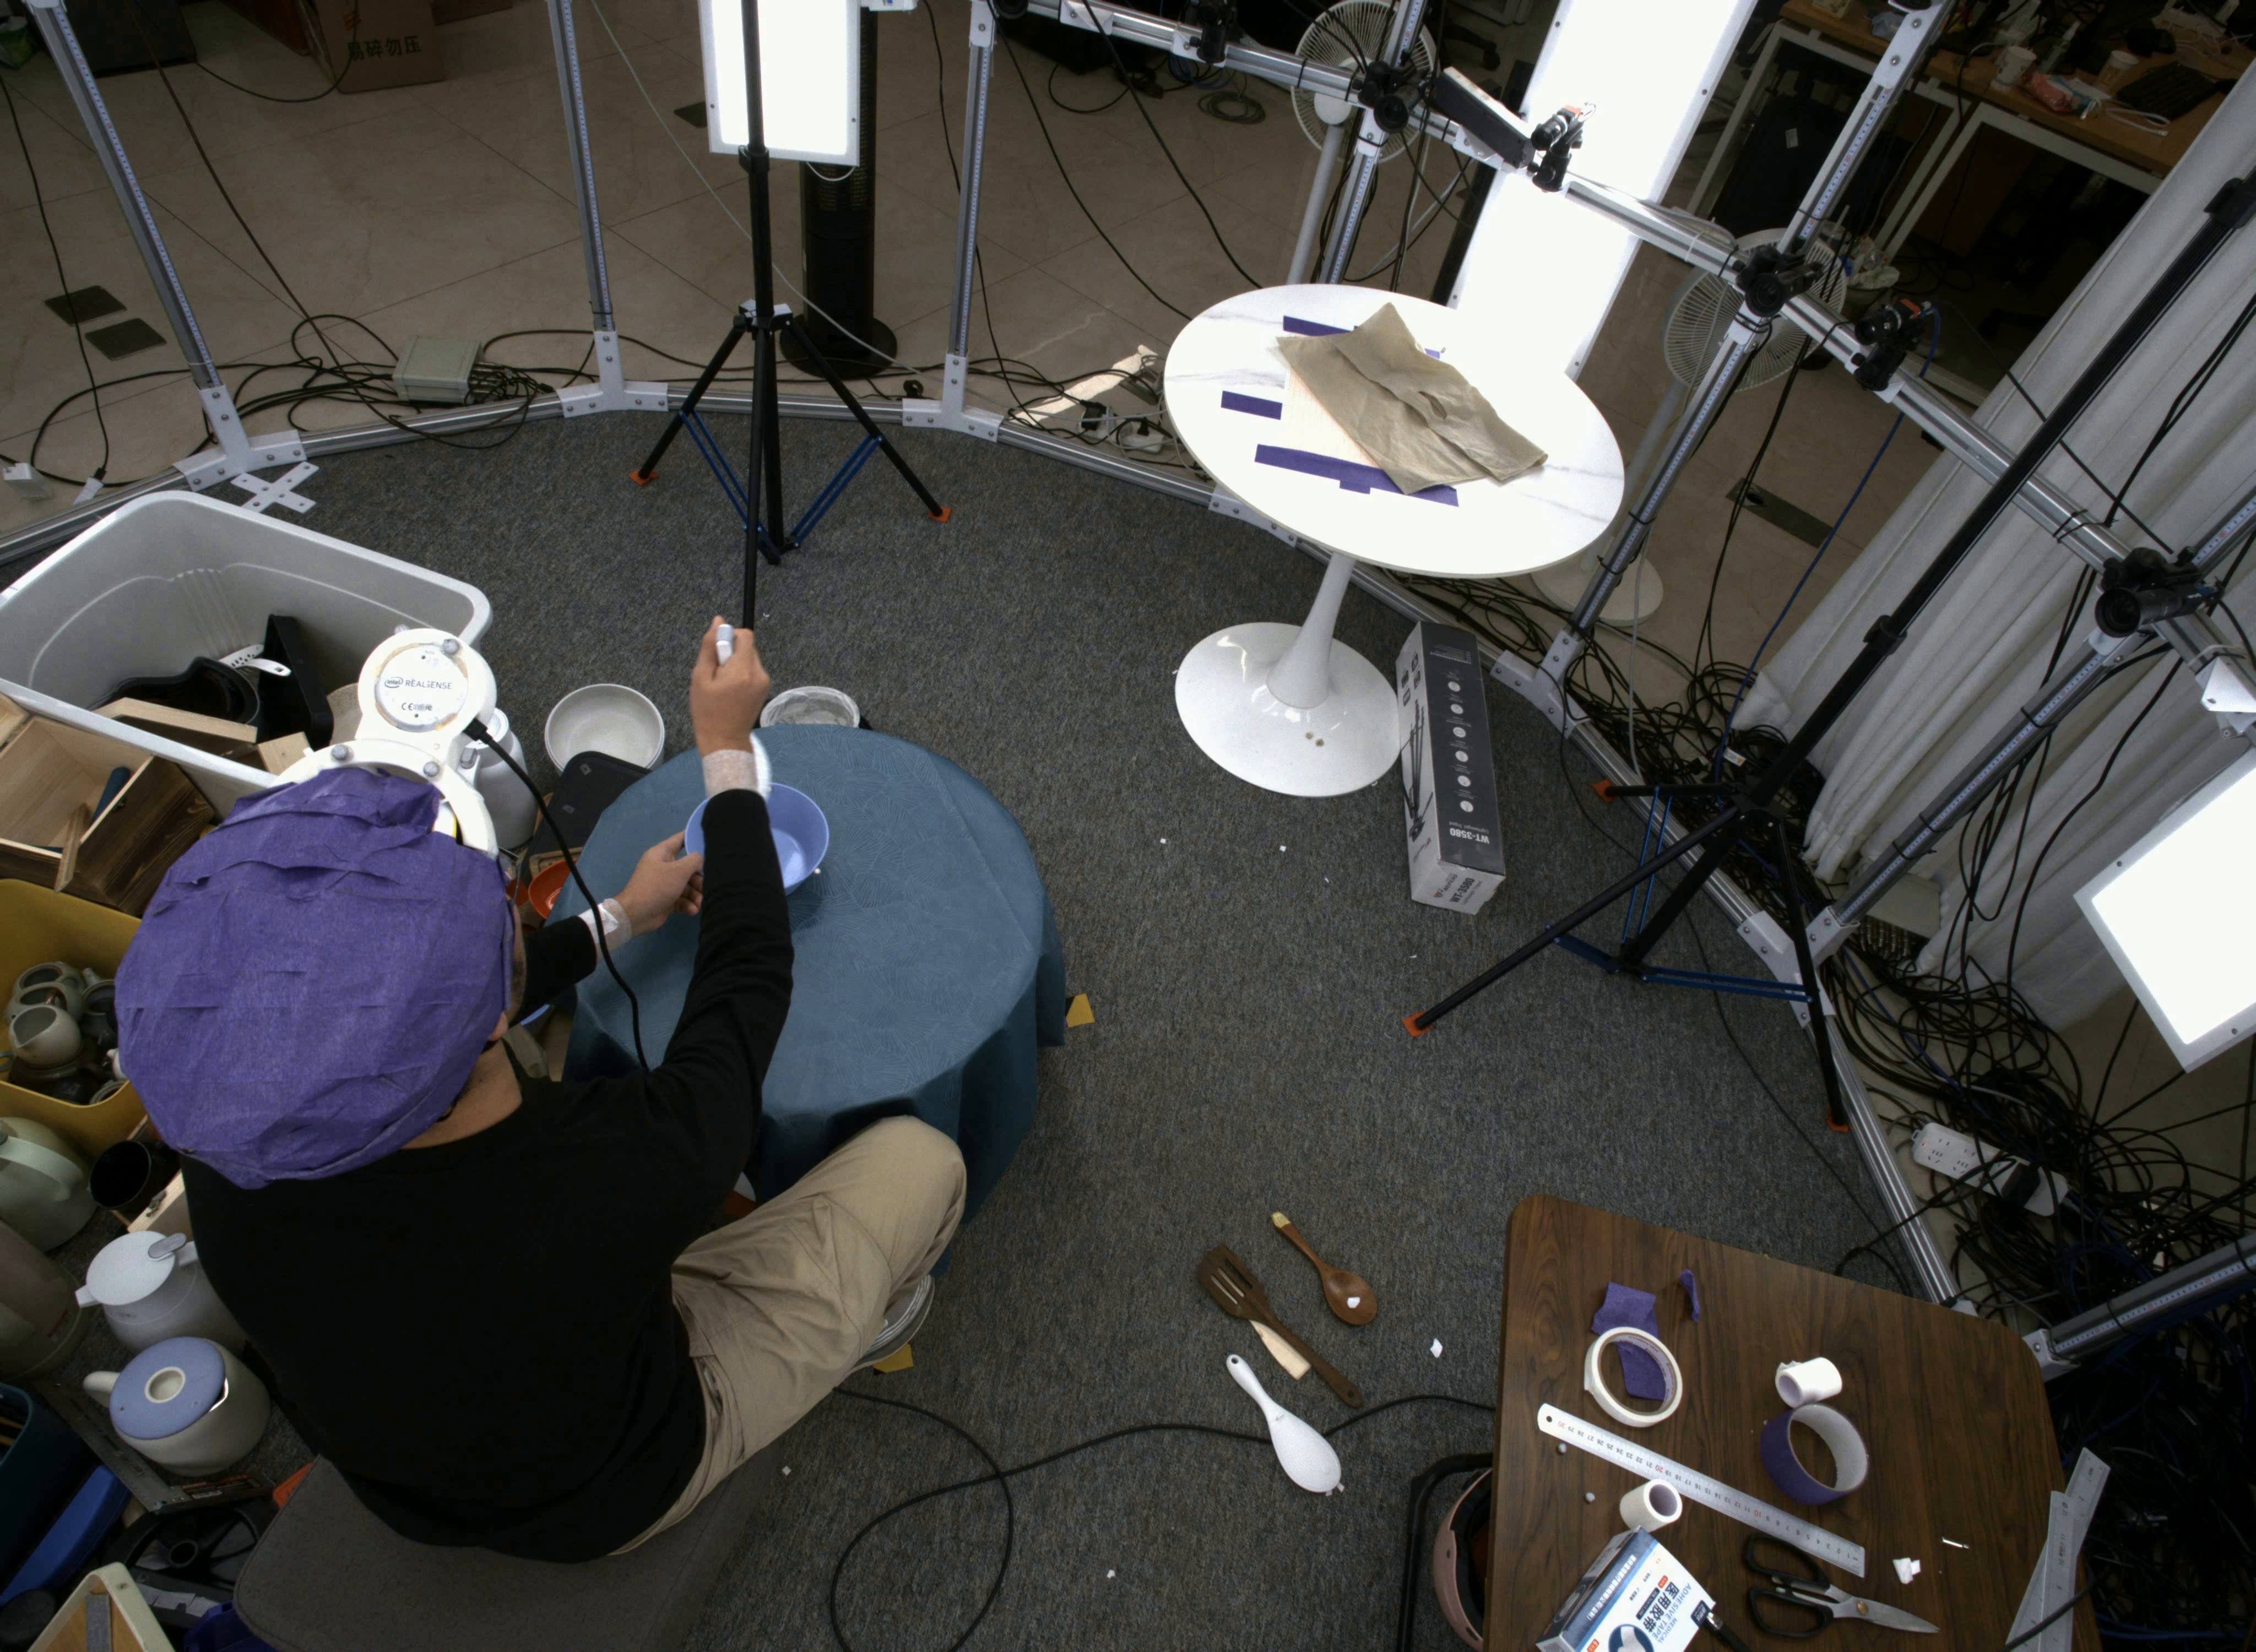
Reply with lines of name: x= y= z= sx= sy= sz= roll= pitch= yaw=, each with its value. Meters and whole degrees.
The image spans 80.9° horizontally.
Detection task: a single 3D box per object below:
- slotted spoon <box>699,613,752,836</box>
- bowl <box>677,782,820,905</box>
slotted spoon: x=-0.460 y=-0.116 z=1.449 sx=0.045 sy=0.356 sz=0.134 roll=-2 pitch=60 yaw=-9
bowl: x=-0.478 y=0.032 z=1.636 sx=0.176 sy=0.071 sz=0.173 roll=7 pitch=53 yaw=-8
